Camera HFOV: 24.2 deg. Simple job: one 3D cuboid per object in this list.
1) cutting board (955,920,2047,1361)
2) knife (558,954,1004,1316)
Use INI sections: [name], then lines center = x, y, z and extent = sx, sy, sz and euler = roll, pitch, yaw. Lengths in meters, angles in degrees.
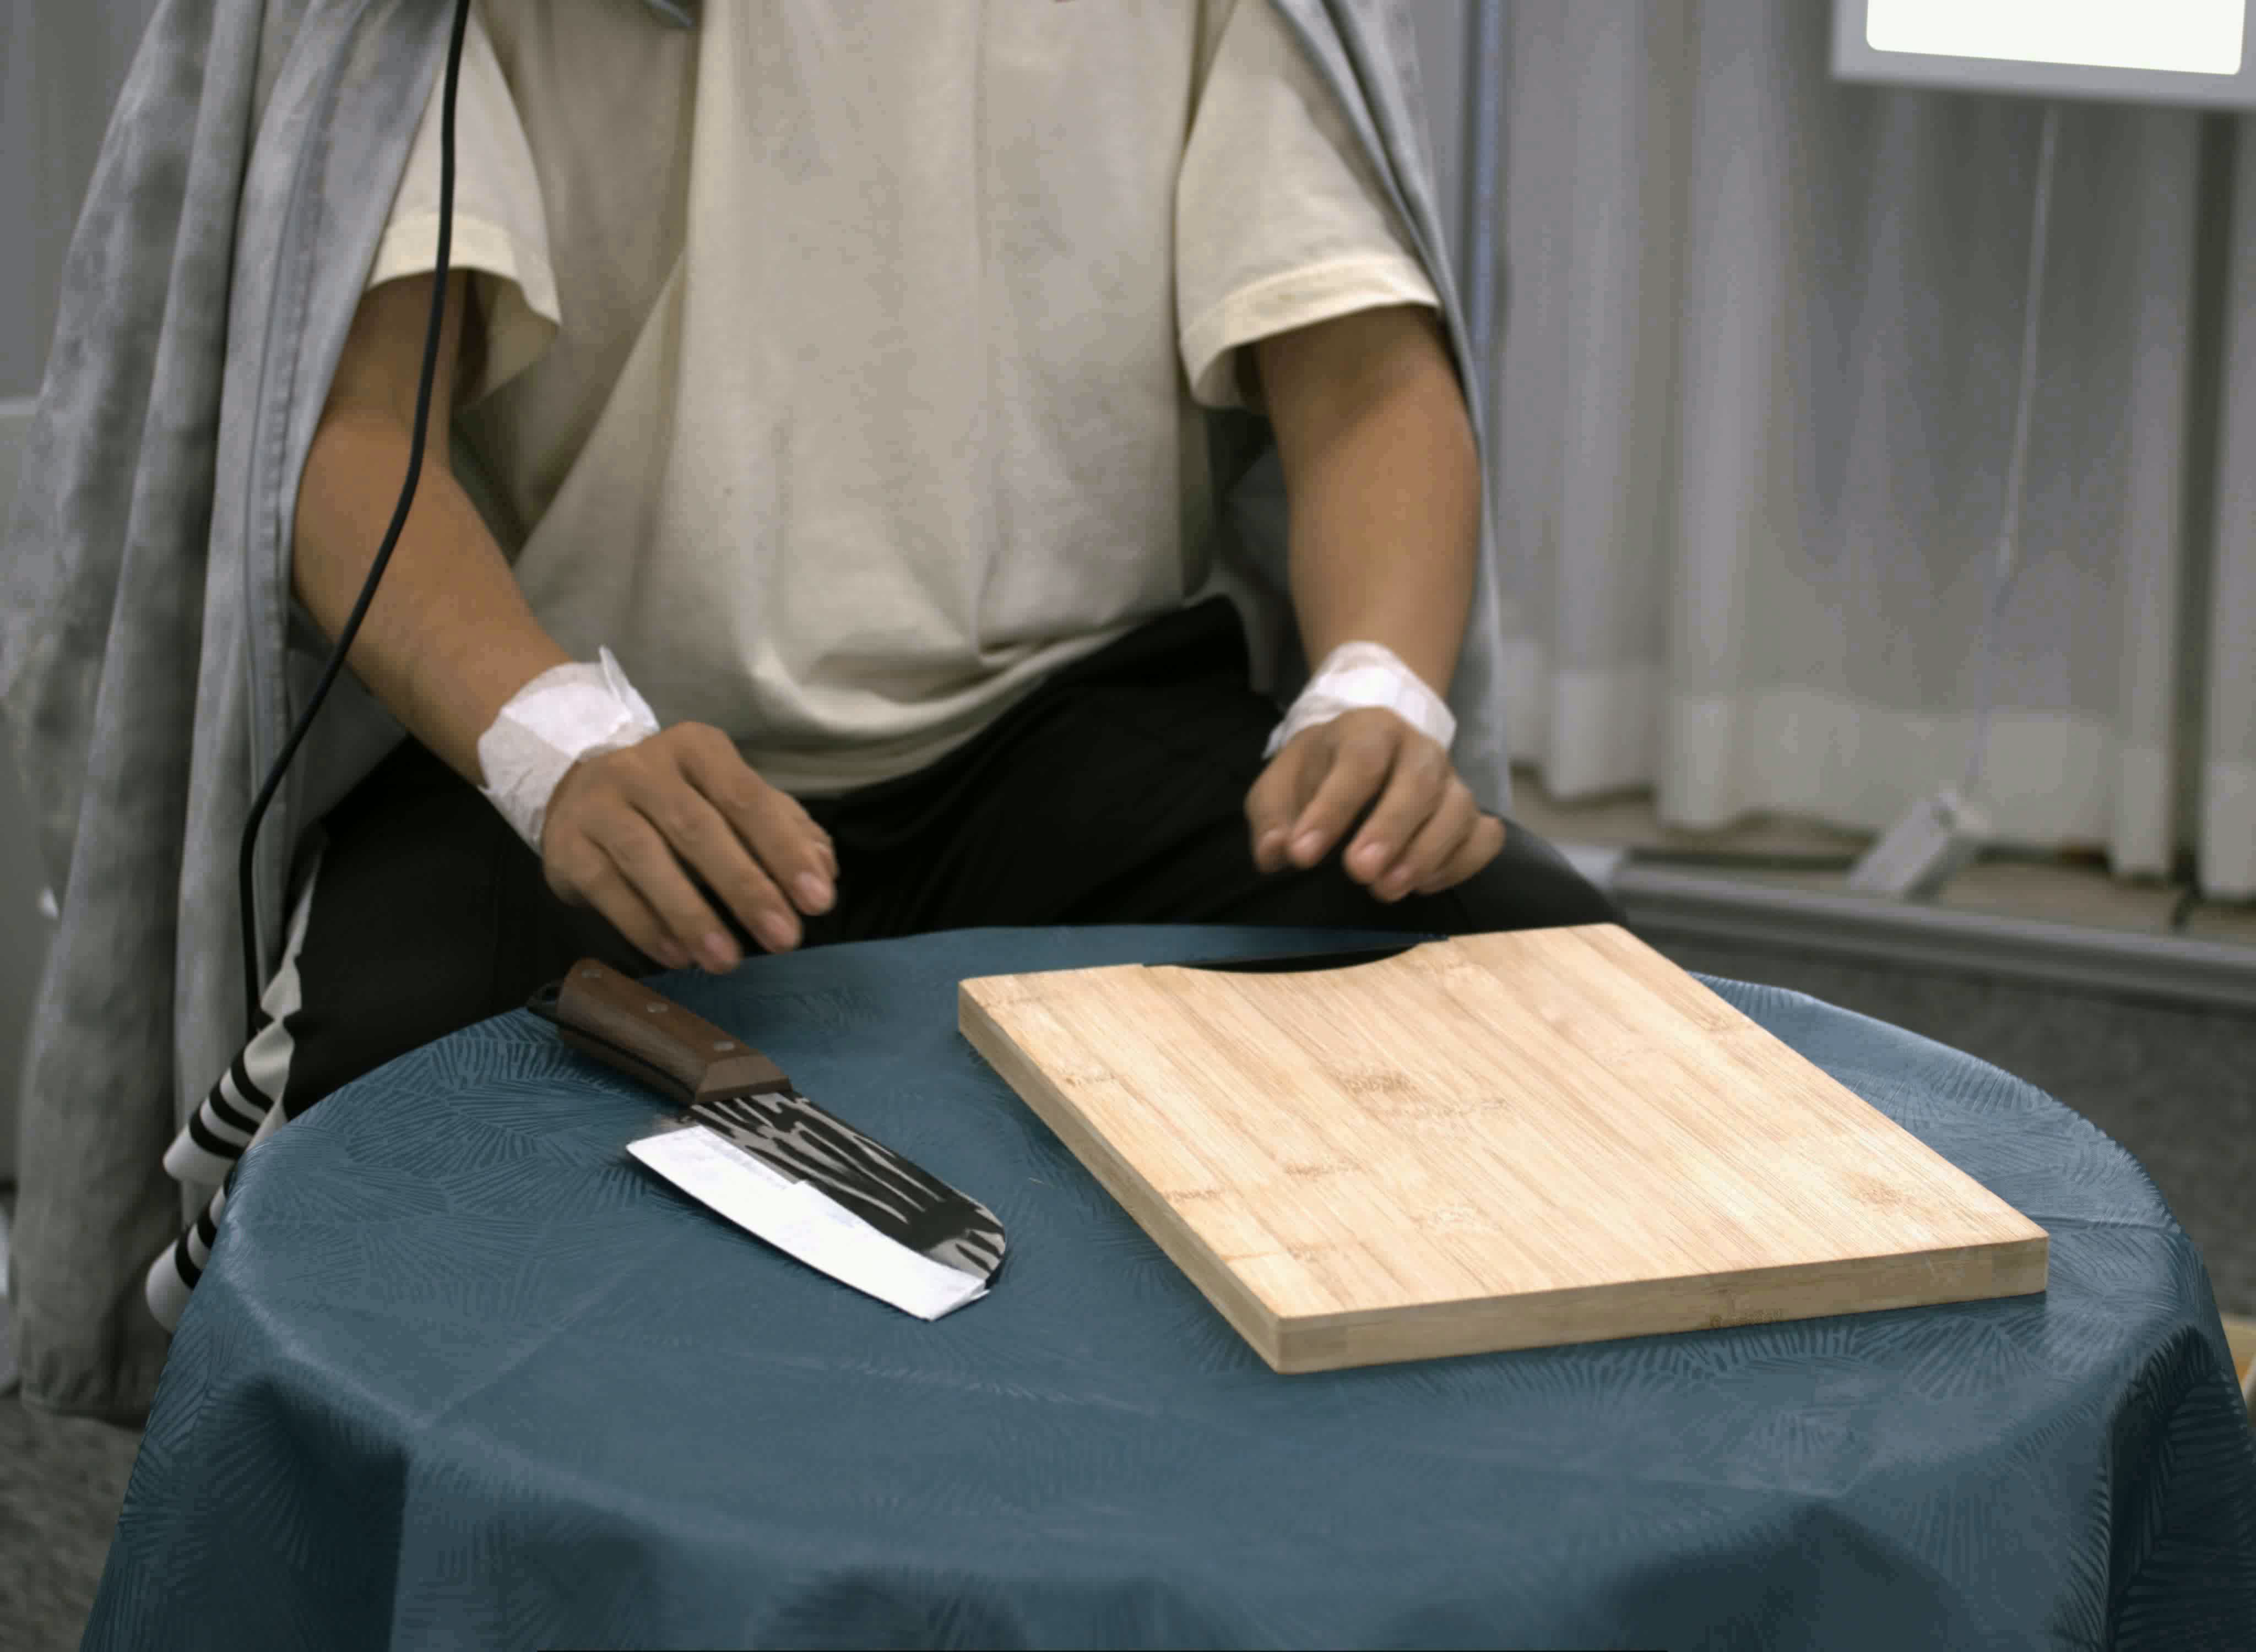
[cutting board]
center = 0.105, 0.094, 1.668
extent = 0.251, 0.024, 0.345
euler = -4, 16, -18
[knife]
center = -0.120, 0.096, 1.643
extent = 0.068, 0.024, 0.295
euler = -12, 22, -31
